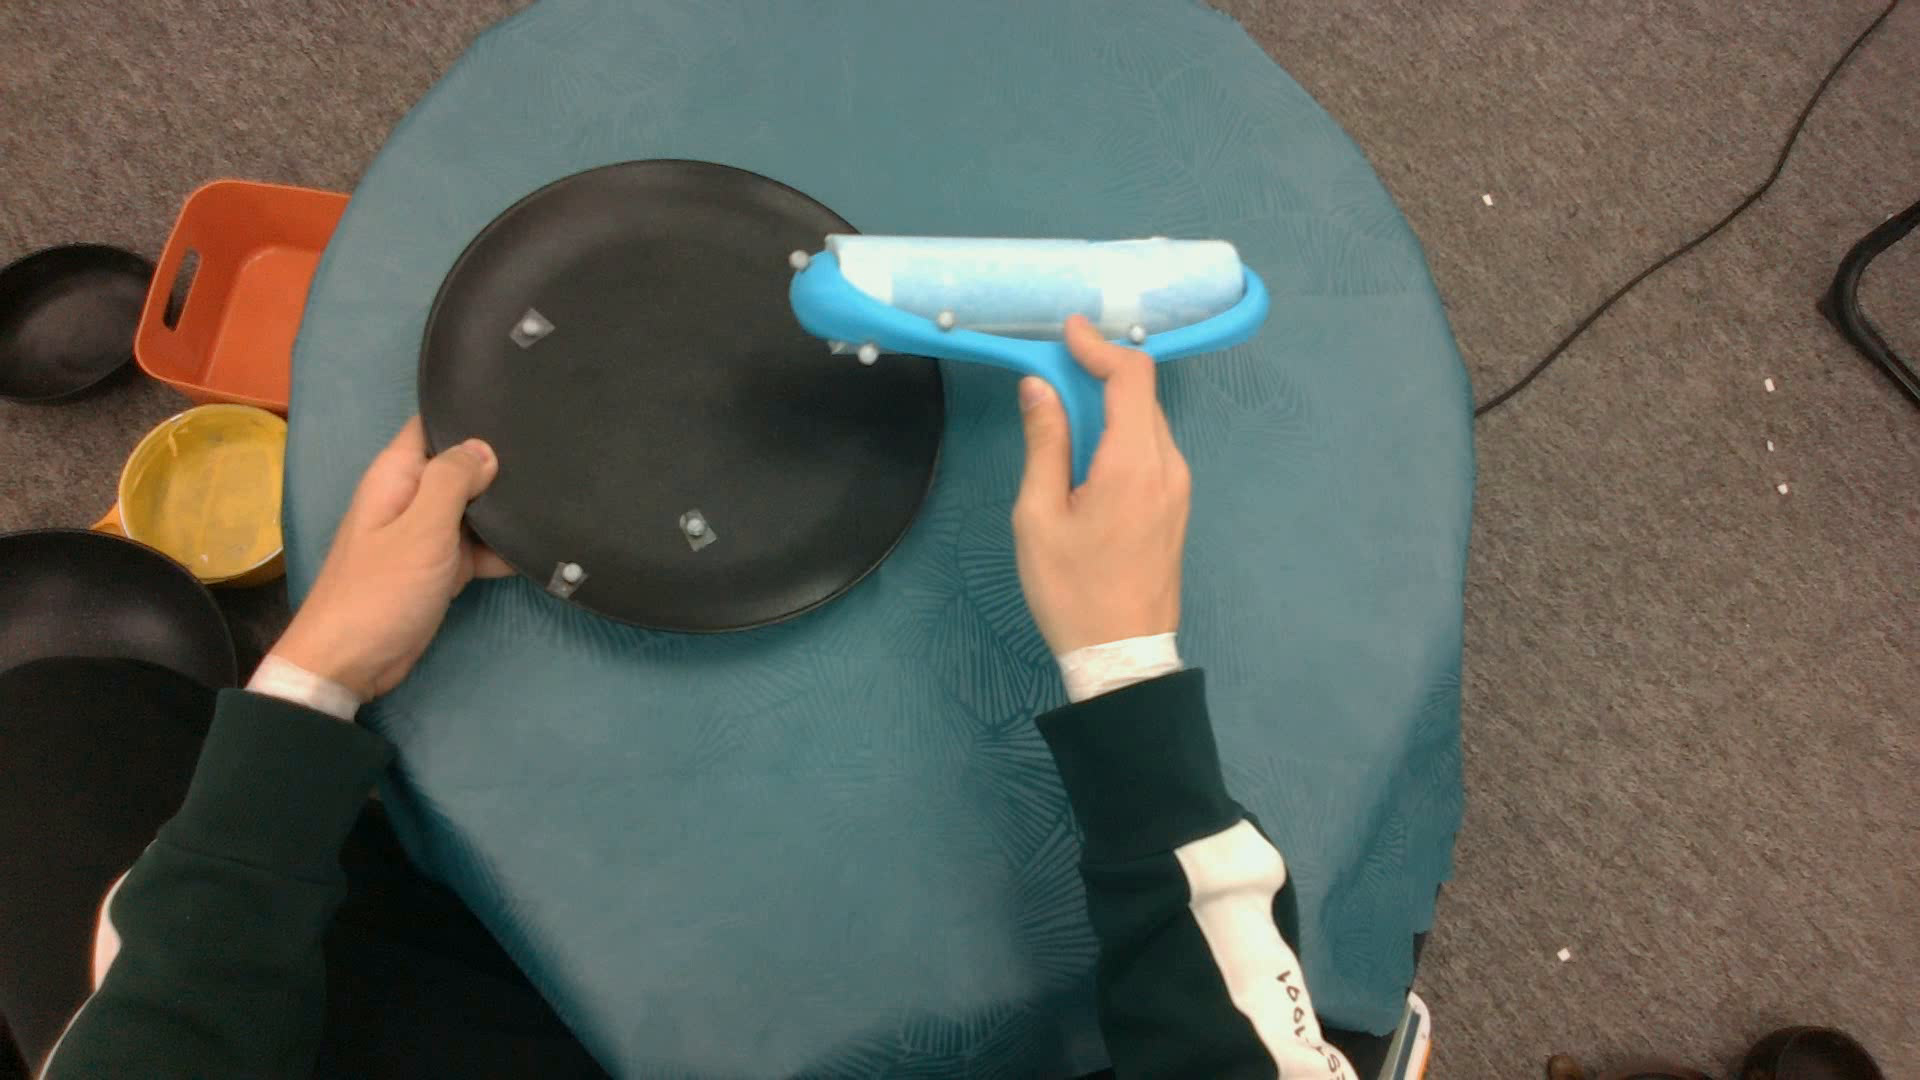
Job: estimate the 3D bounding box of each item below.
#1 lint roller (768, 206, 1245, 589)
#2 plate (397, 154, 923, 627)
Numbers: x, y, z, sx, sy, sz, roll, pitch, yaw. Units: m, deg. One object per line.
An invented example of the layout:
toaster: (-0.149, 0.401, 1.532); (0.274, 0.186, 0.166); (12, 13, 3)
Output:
lint roller: (0.039, -0.072, 0.622); (0.229, 0.067, 0.180); (-8, 69, -20)
plate: (-0.138, -0.074, 0.660); (0.244, 0.023, 0.245); (5, 70, -14)
